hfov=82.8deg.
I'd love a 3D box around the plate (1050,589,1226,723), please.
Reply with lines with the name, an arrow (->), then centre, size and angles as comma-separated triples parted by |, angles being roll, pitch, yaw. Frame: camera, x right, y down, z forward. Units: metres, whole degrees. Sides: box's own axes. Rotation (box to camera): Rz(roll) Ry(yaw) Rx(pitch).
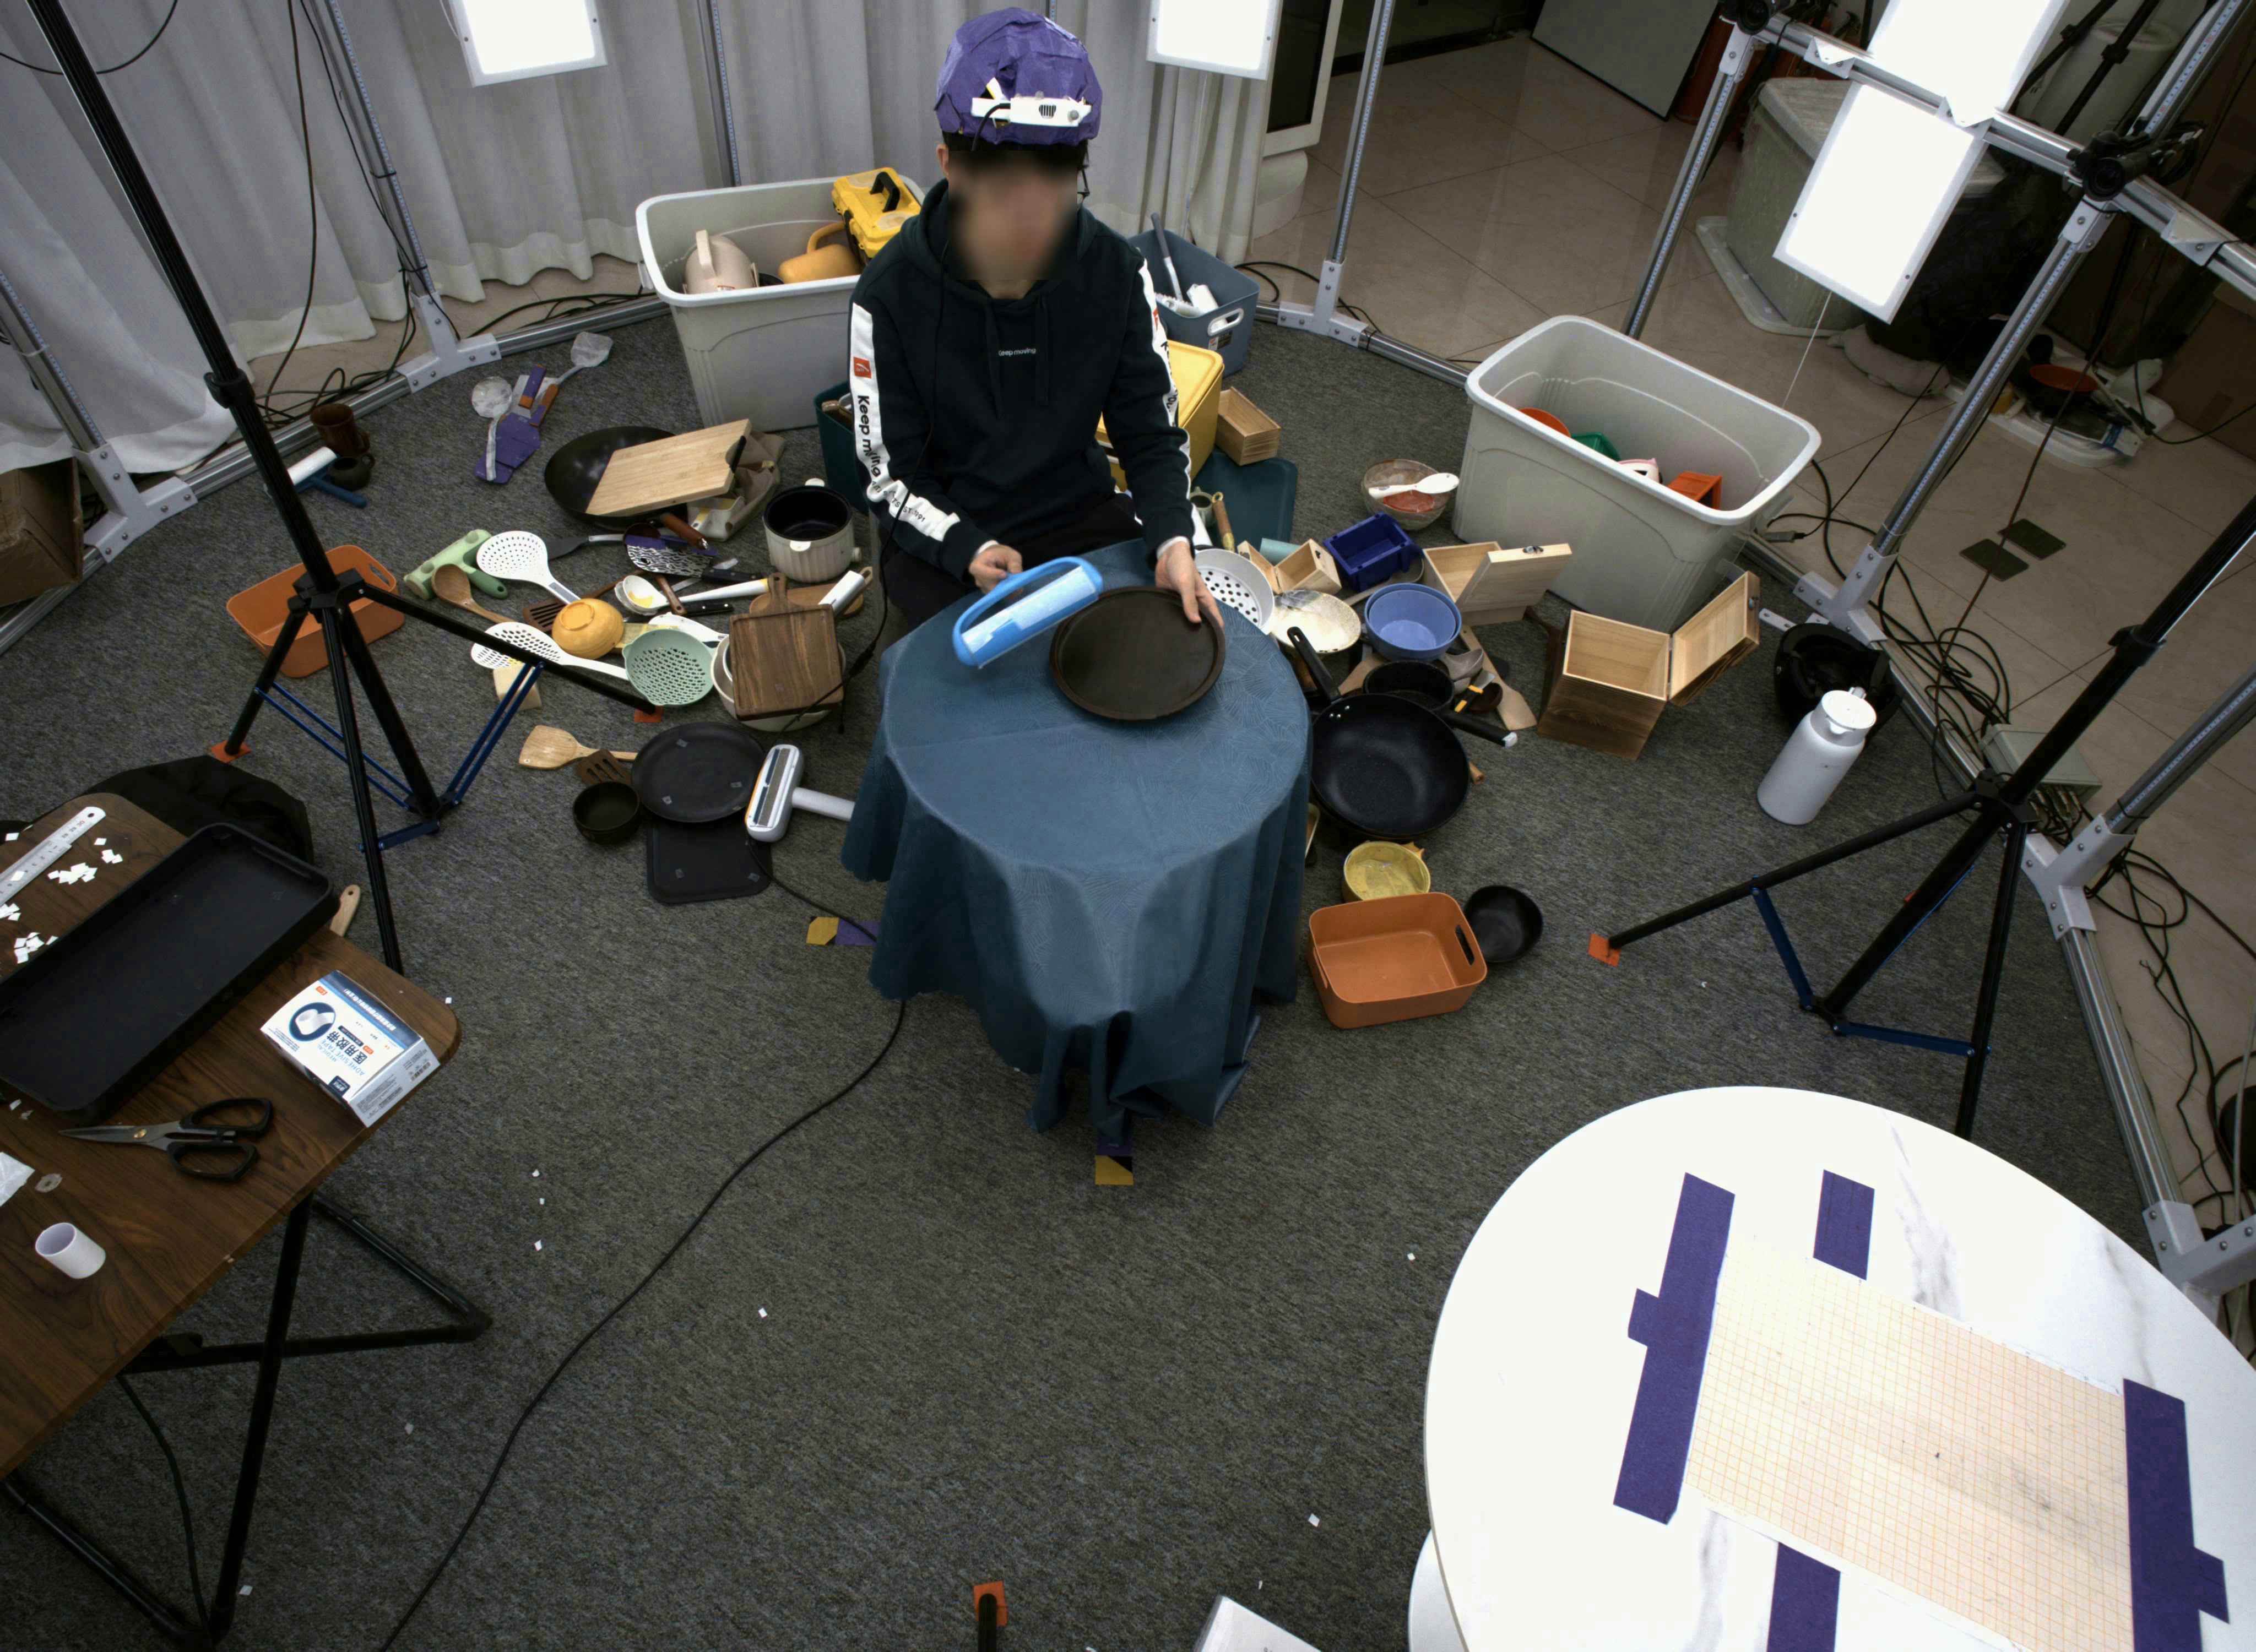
plate -> 0.015, -0.246, 1.845 | 0.255, 0.028, 0.261 | -3, 54, 4

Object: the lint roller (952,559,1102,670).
lint roller -> -0.162, -0.324, 1.840 | 0.229, 0.066, 0.184 | -32, 42, -2
